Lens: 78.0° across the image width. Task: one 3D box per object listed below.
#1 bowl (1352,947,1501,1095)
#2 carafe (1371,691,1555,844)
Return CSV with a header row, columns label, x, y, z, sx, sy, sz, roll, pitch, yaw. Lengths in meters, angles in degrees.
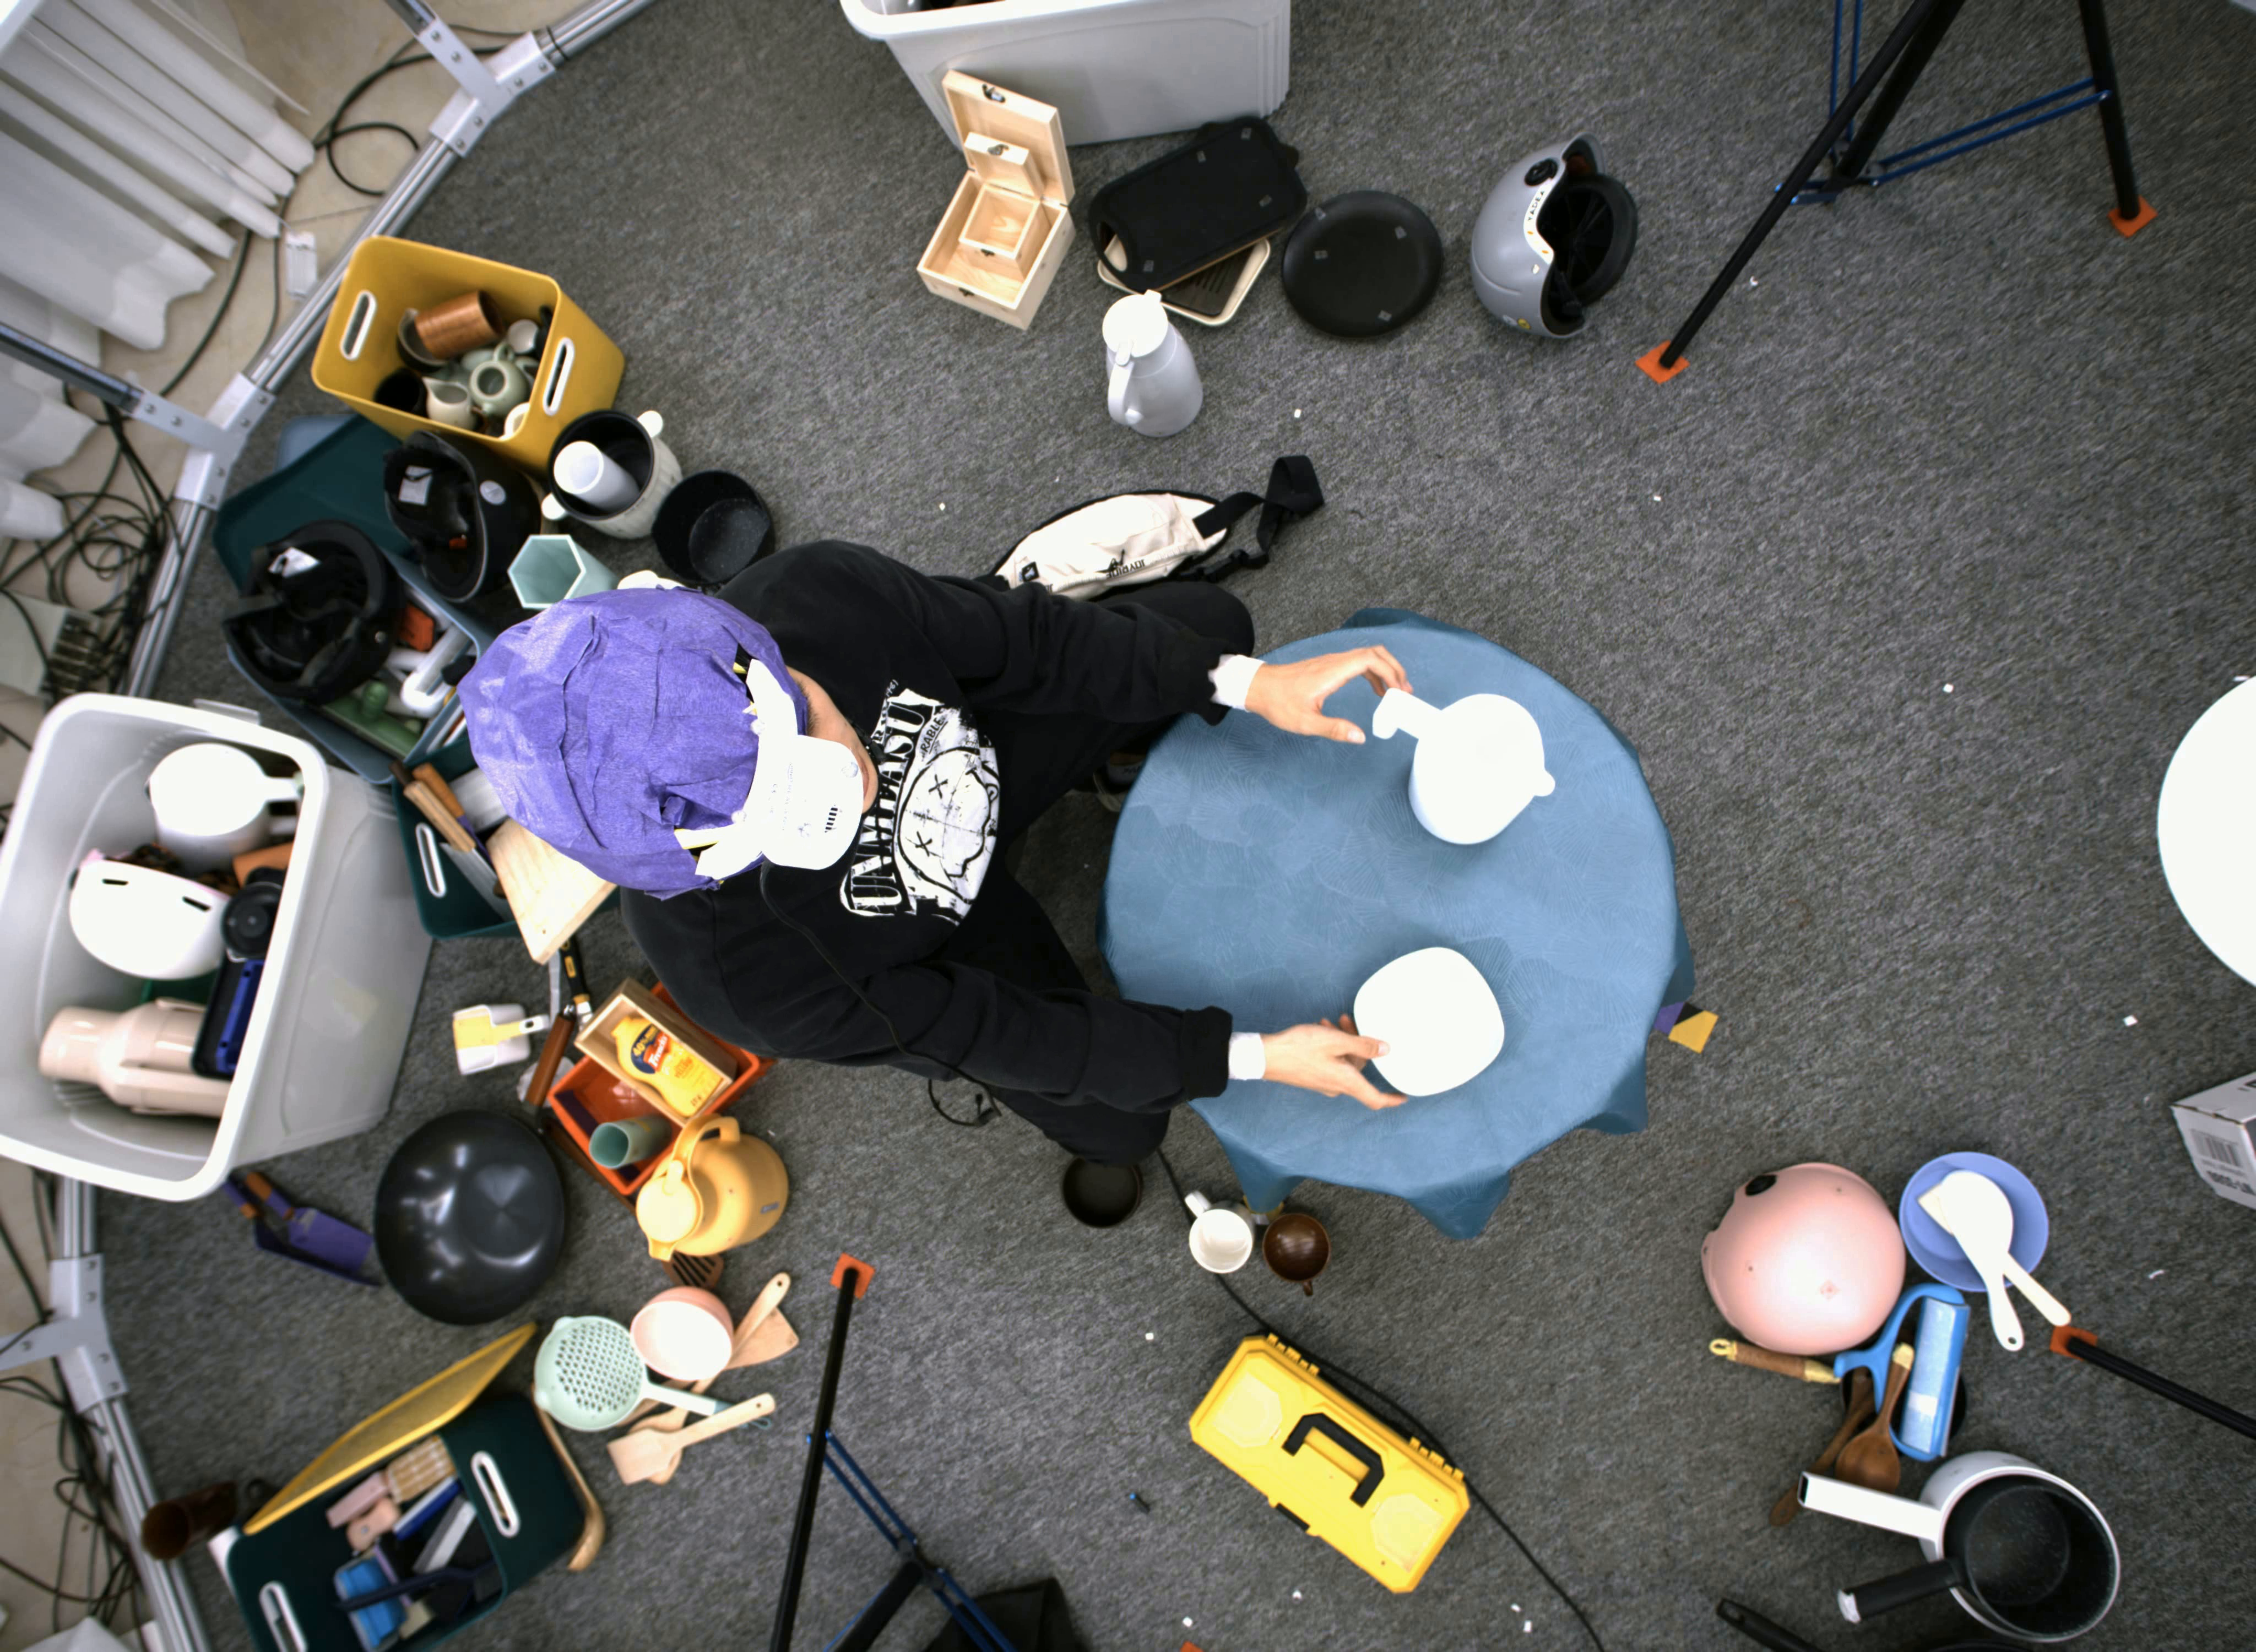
label,x,y,z,sx,sy,sz,roll,pitch,yaw
bowl,0.306,0.198,1.421,0.152,0.058,0.151,-1,86,10
carafe,0.316,-0.060,1.323,0.172,0.268,0.124,29,92,11
